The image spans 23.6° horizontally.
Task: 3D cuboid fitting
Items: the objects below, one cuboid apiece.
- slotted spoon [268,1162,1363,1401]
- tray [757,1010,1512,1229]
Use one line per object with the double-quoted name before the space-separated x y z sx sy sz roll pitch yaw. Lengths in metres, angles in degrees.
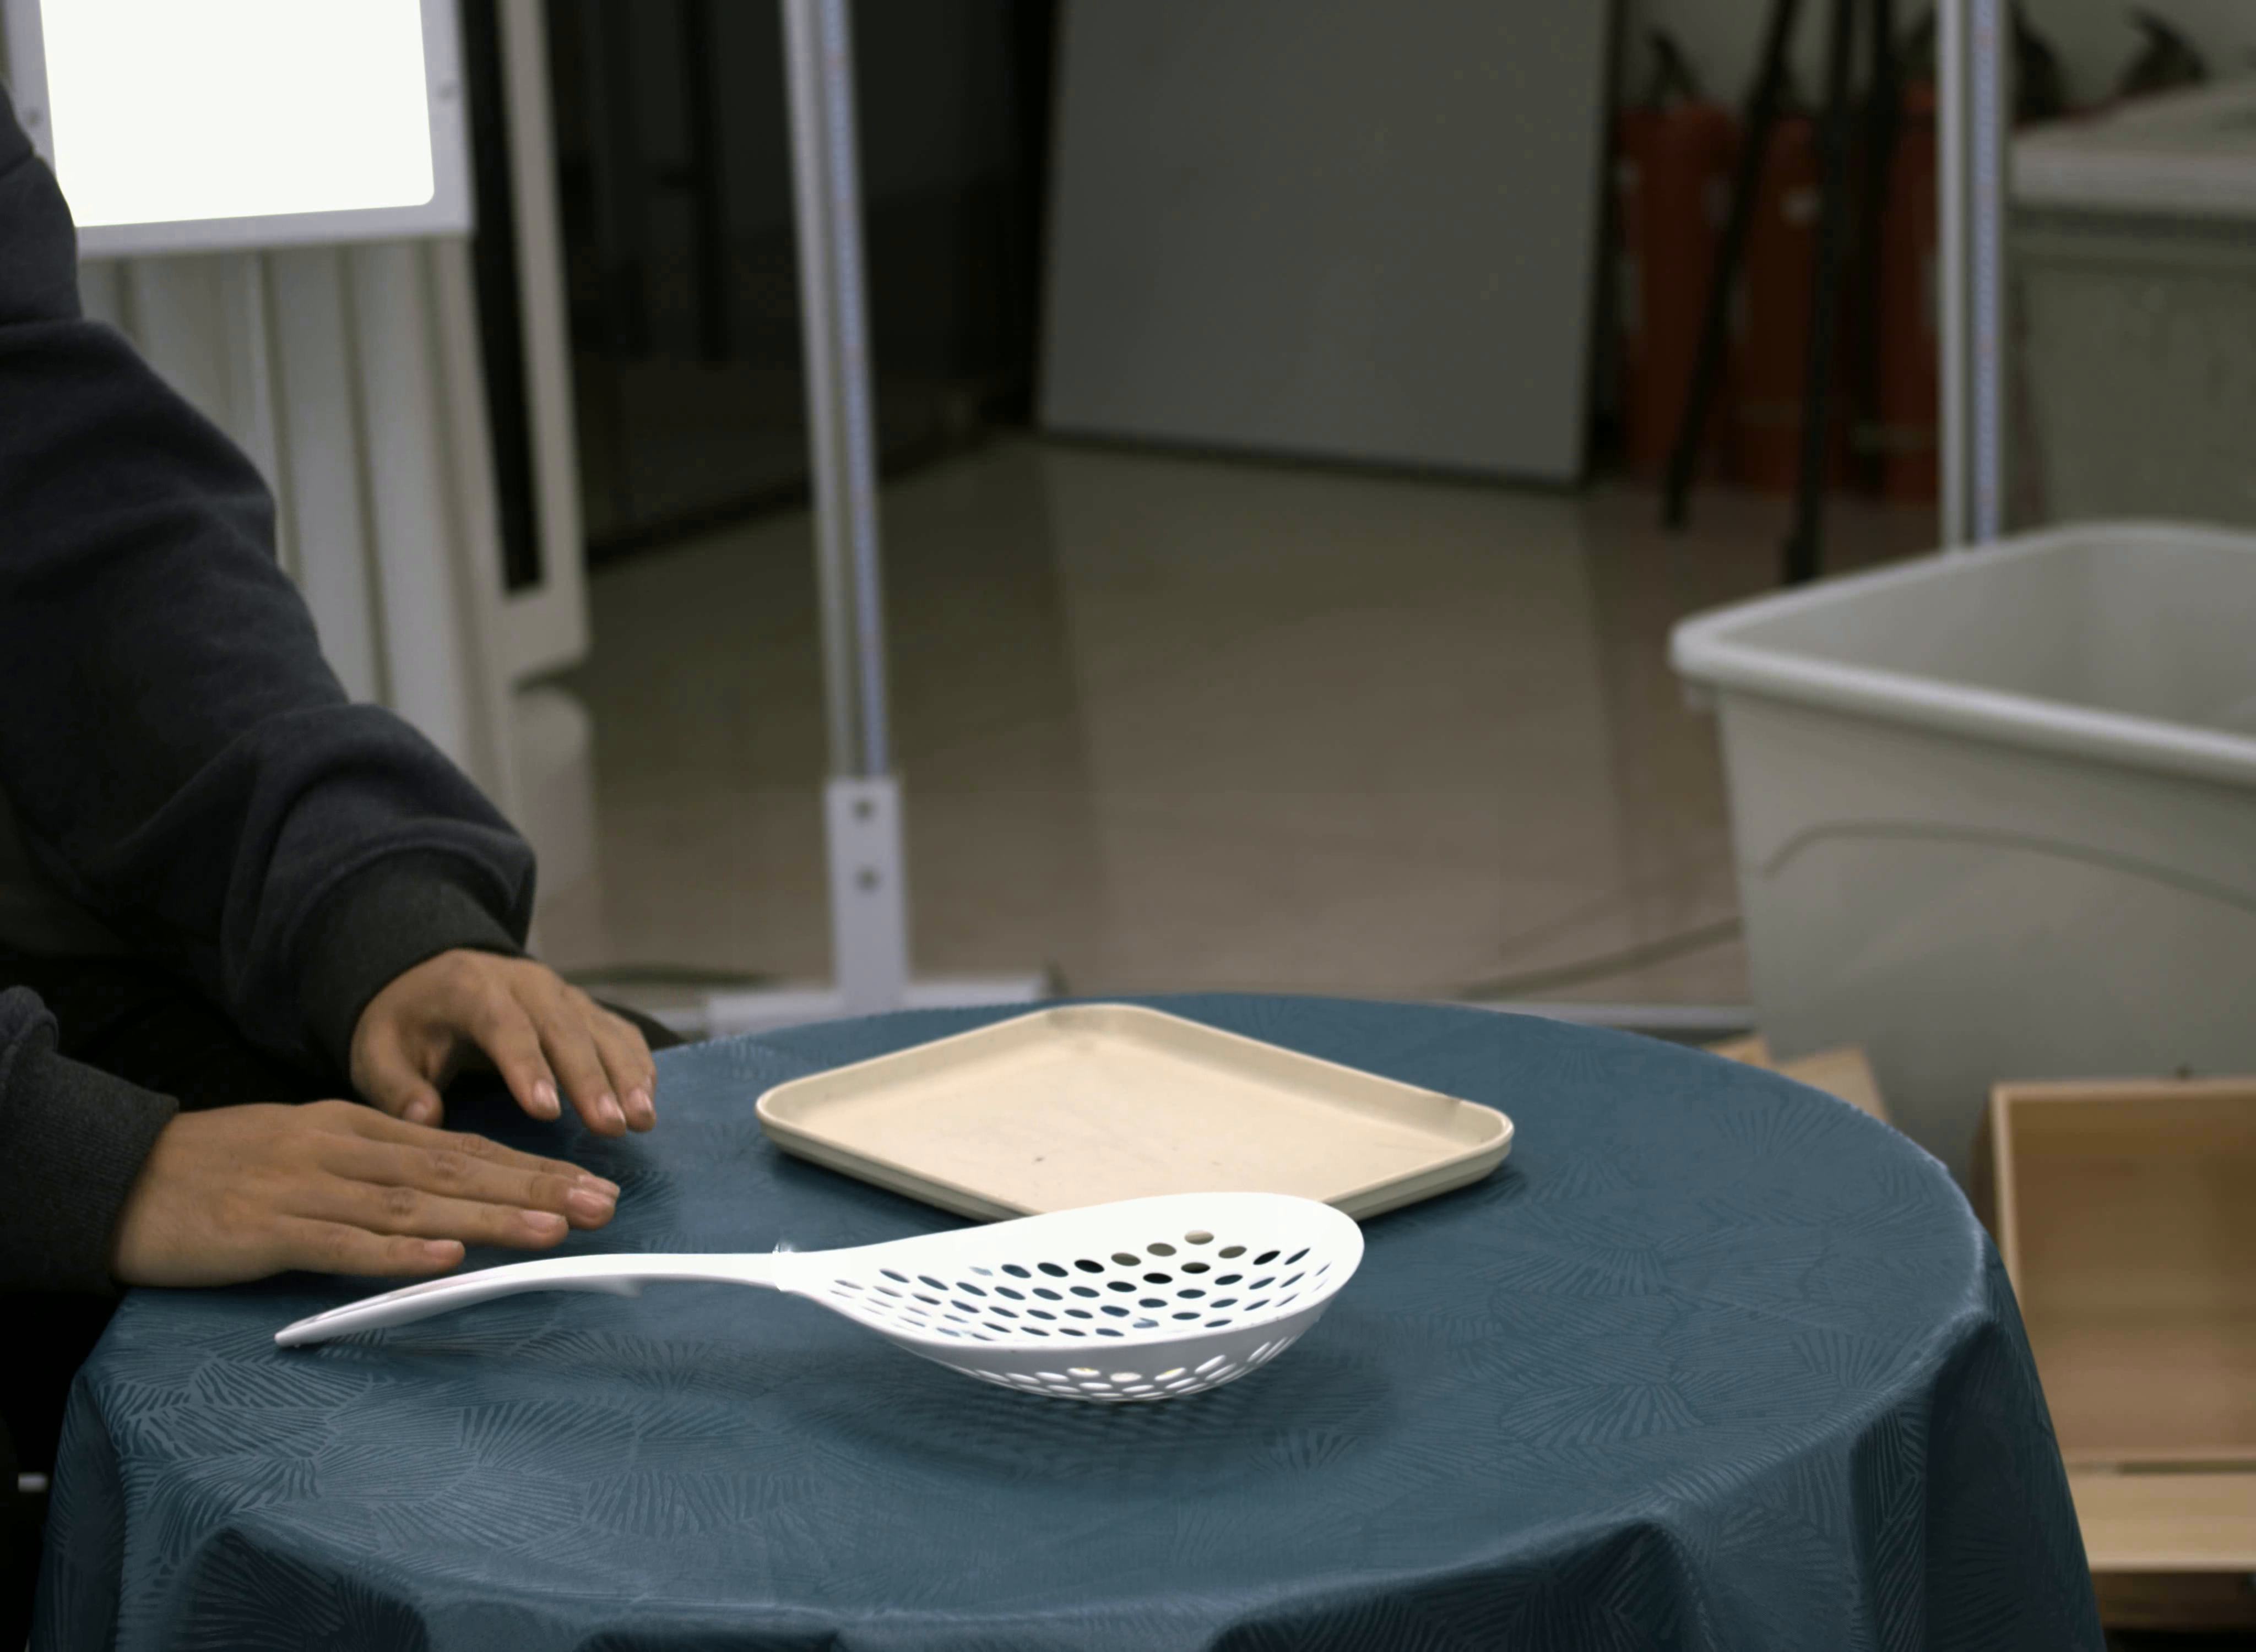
"slotted spoon" -0.098 0.144 1.617 0.347 0.051 0.136 0 17 18
"tray" 0.000 0.104 1.800 0.167 0.017 0.242 -15 17 -36
